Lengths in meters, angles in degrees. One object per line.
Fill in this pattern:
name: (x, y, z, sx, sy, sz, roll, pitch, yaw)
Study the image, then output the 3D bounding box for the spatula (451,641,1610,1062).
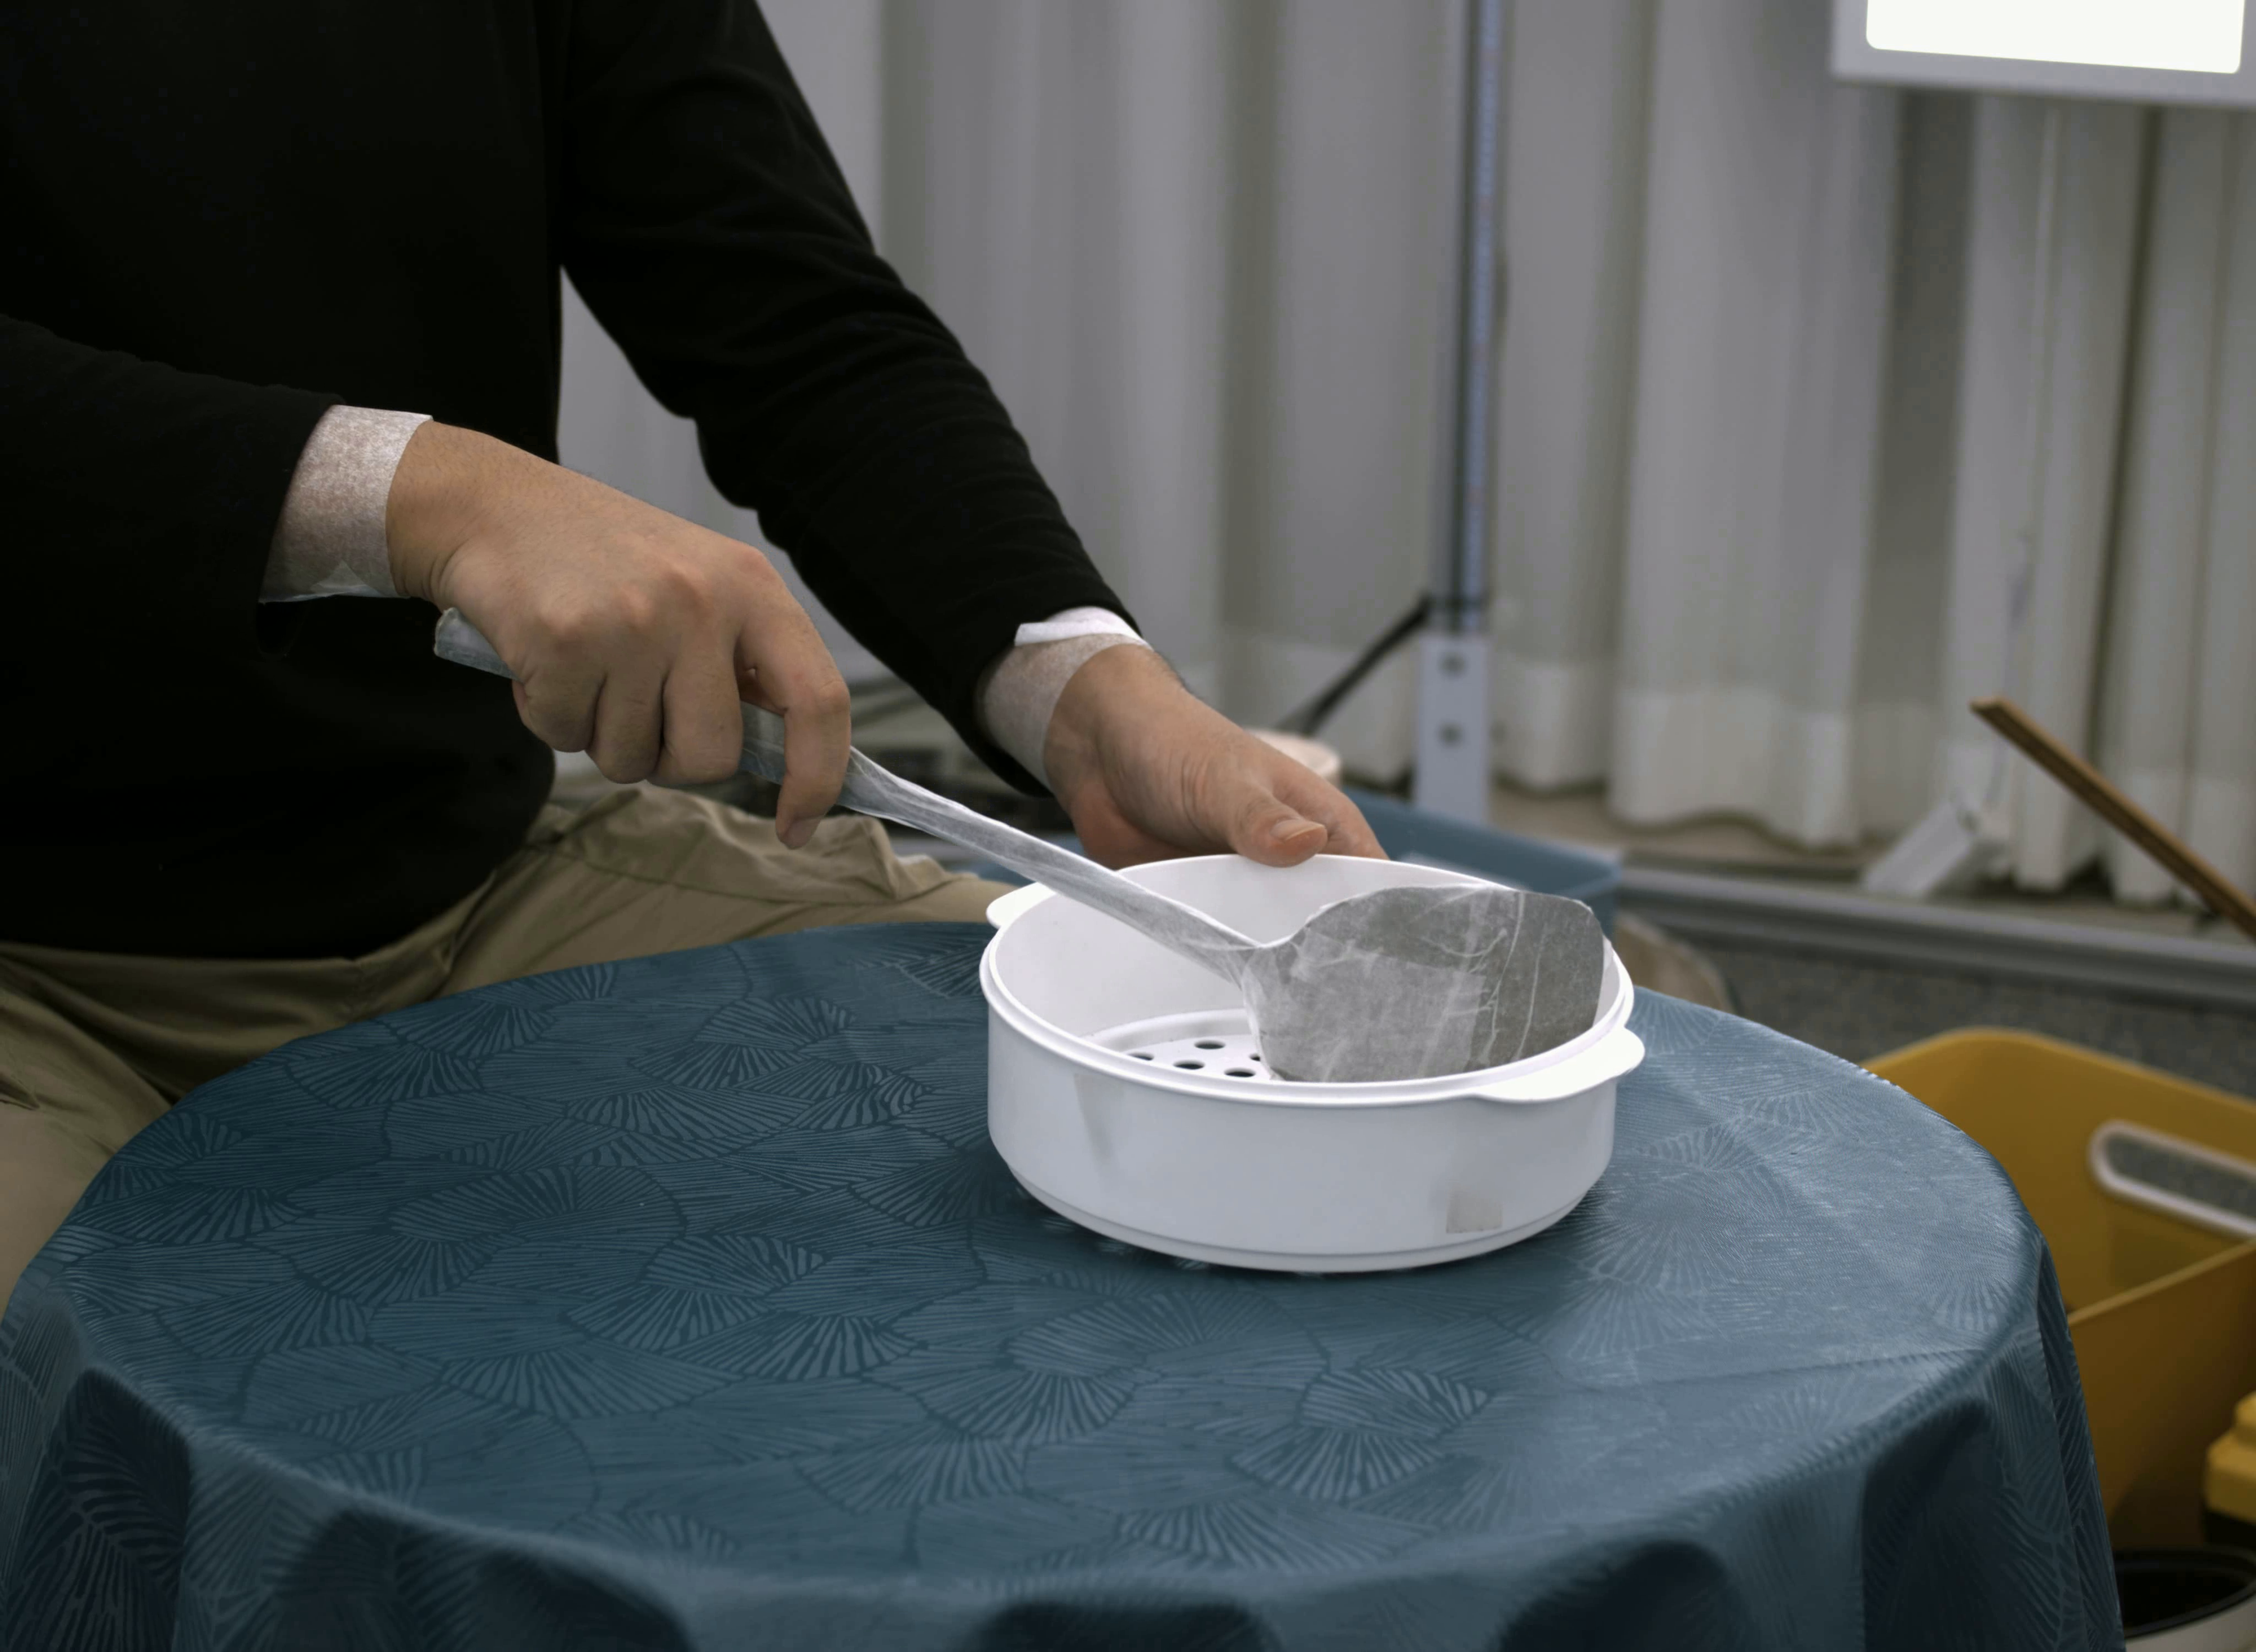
spatula: (-0.031, 0.007, 1.599, 0.363, 0.099, 0.044, 23, 29, 4)

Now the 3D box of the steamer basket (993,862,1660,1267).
steamer basket: (0.058, 0.073, 1.618, 0.227, 0.070, 0.203, 17, 24, 39)
